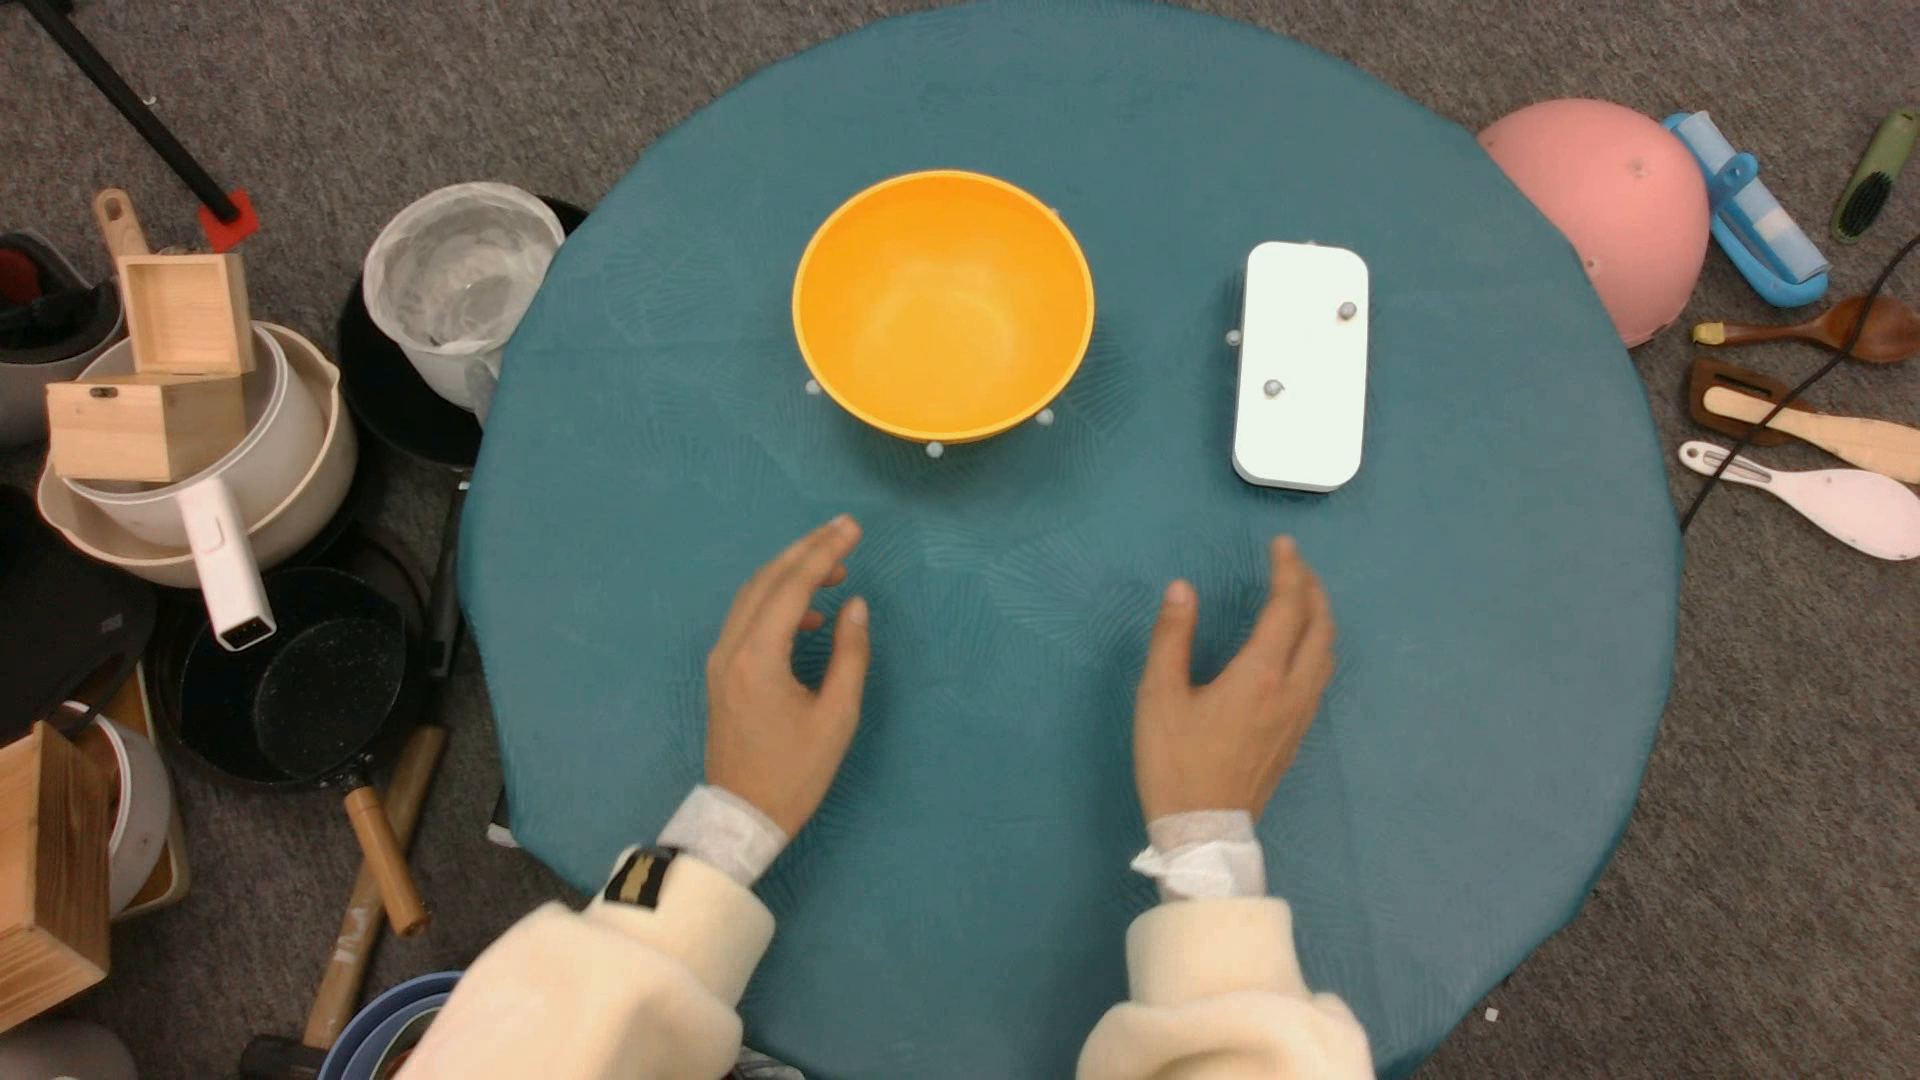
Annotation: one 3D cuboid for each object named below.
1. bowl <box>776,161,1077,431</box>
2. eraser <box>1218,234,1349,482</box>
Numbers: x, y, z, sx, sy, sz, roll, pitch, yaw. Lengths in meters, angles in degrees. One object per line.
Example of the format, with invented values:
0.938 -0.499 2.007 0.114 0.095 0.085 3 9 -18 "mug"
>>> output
-0.017 -0.111 0.685 0.145 0.060 0.146 1 70 -3 "bowl"
0.162 -0.094 0.697 0.063 0.034 0.131 7 71 1 "eraser"
